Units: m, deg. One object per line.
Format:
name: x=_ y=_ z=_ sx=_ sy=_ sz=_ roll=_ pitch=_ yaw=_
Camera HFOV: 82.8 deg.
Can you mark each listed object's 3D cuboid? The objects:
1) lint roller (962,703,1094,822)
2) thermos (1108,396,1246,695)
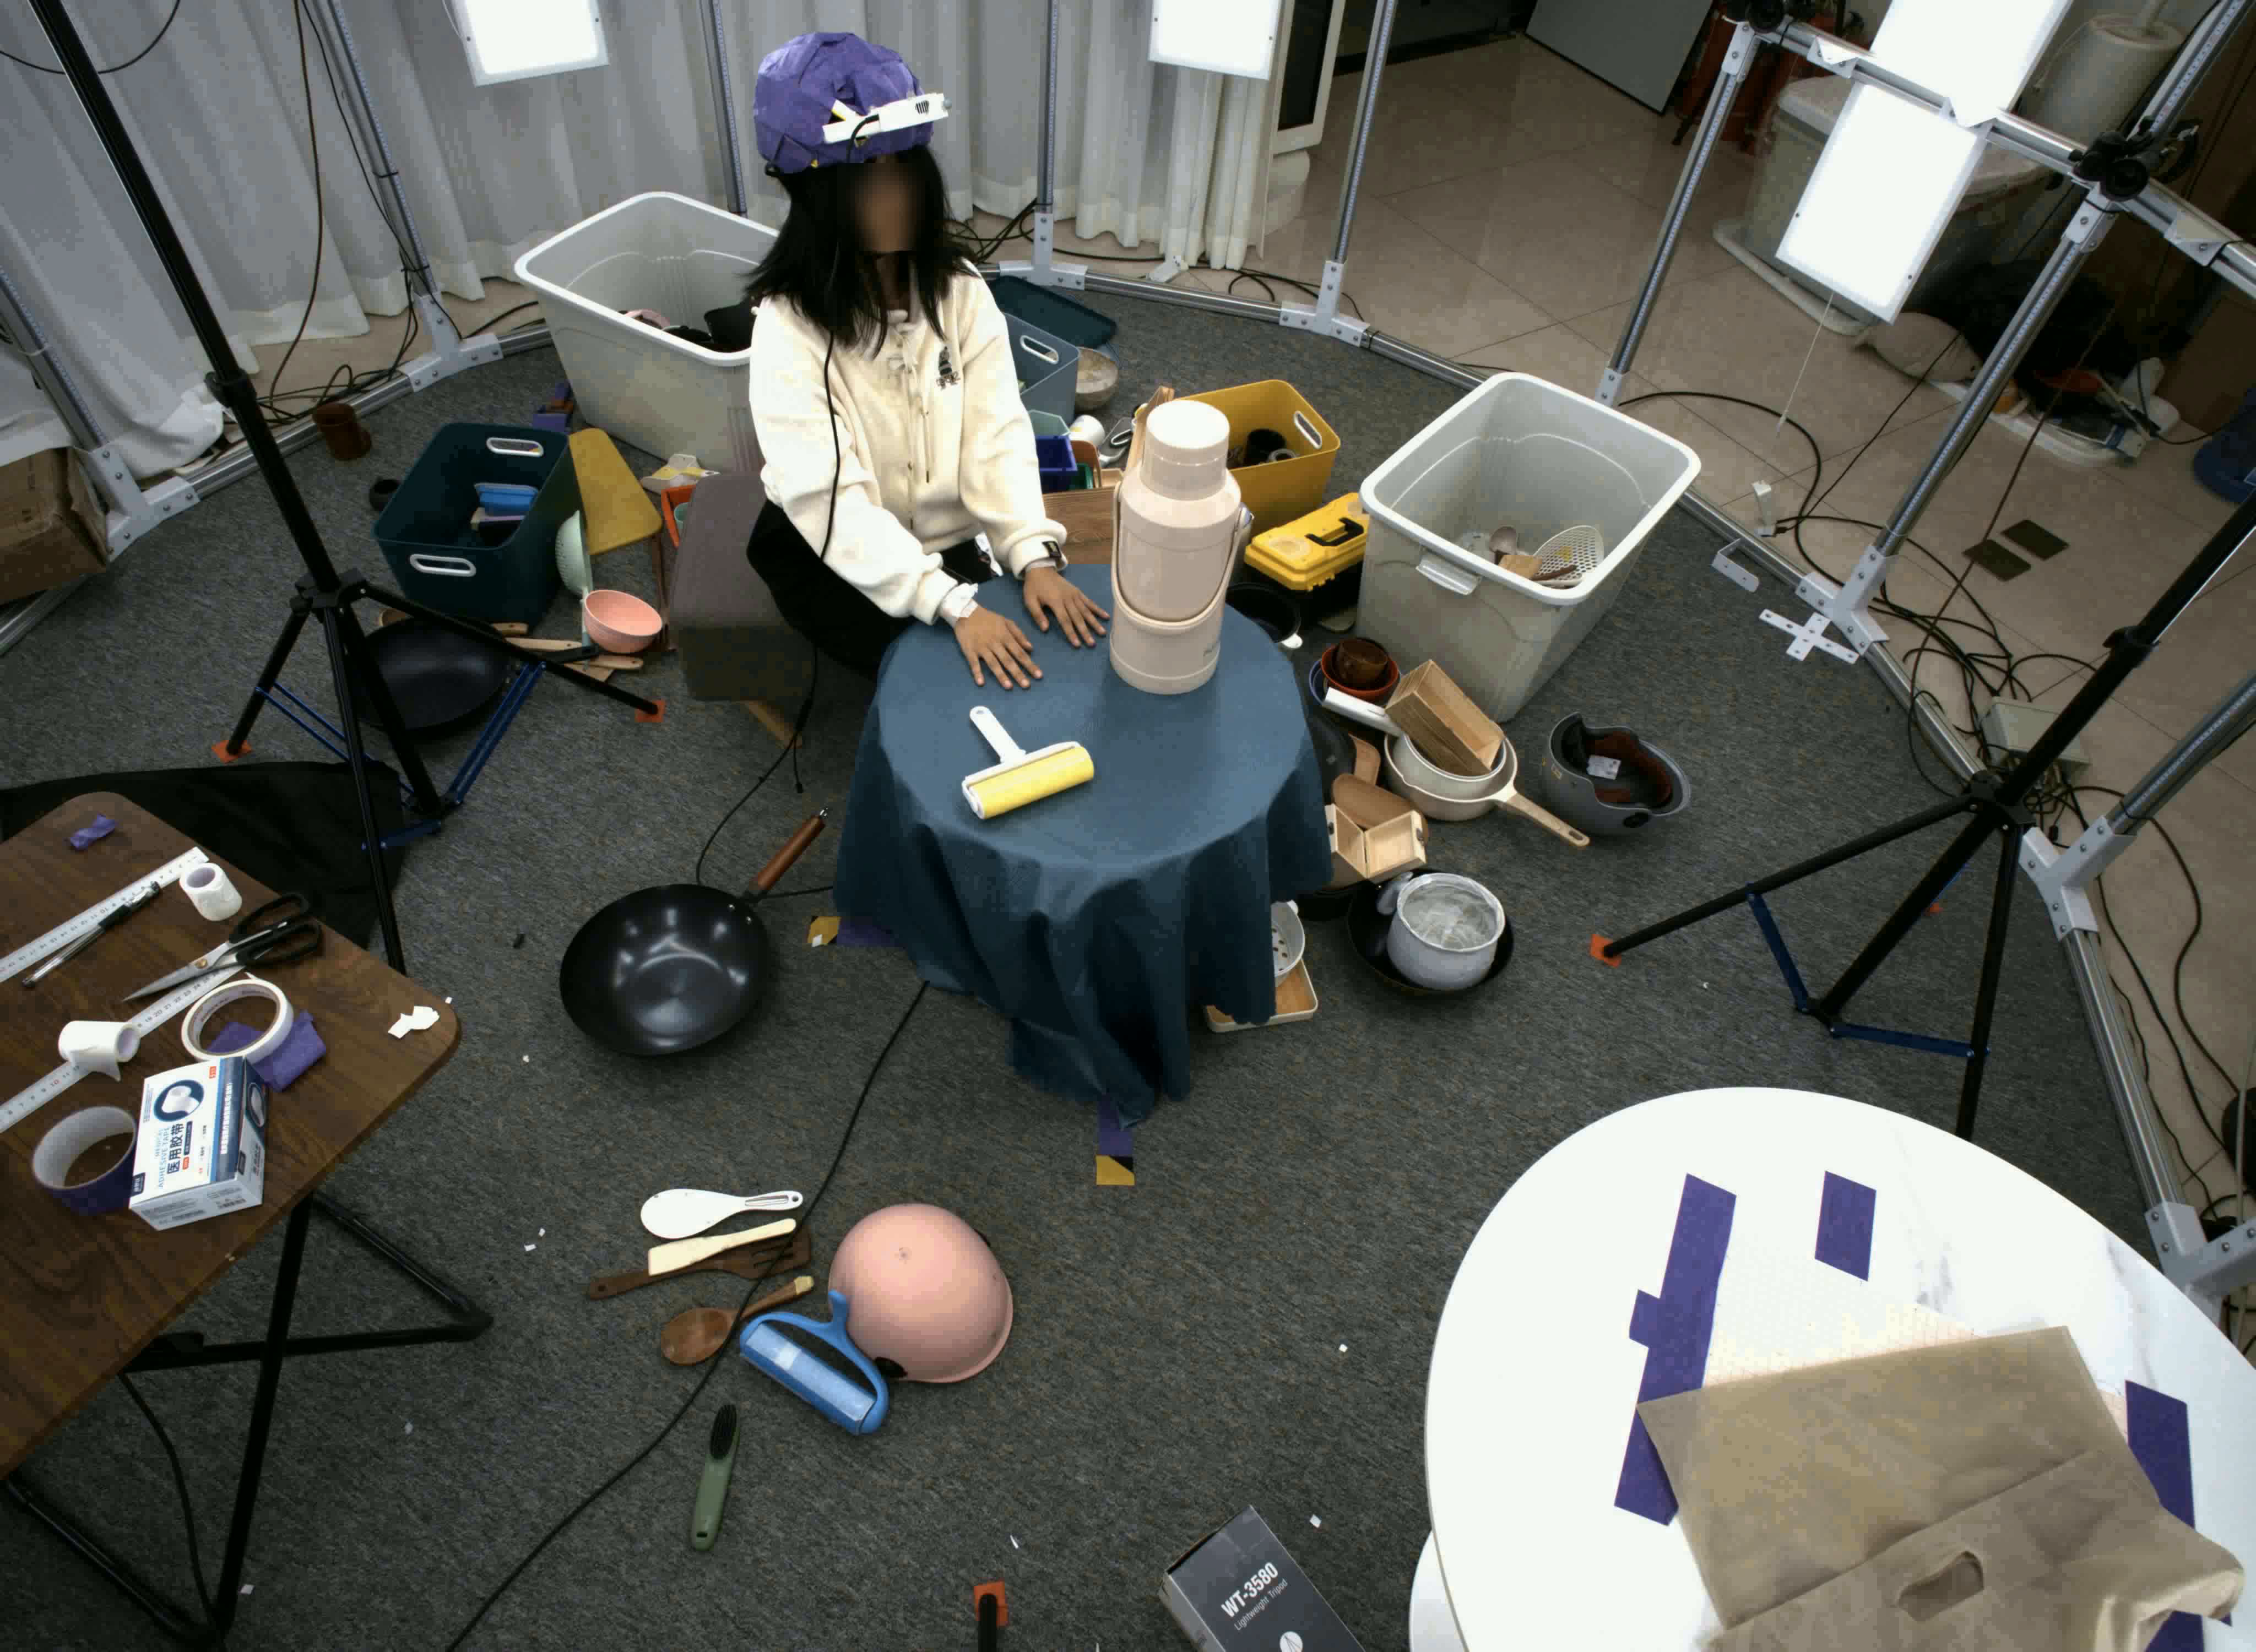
lint roller: x=-0.162 y=-0.107 z=1.716 sx=0.175 sy=0.050 sz=0.196 roll=-22 pitch=60 yaw=-22
thermos: x=0.068 y=-0.383 z=1.751 sx=0.176 sy=0.396 sz=0.211 roll=13 pitch=49 yaw=8
